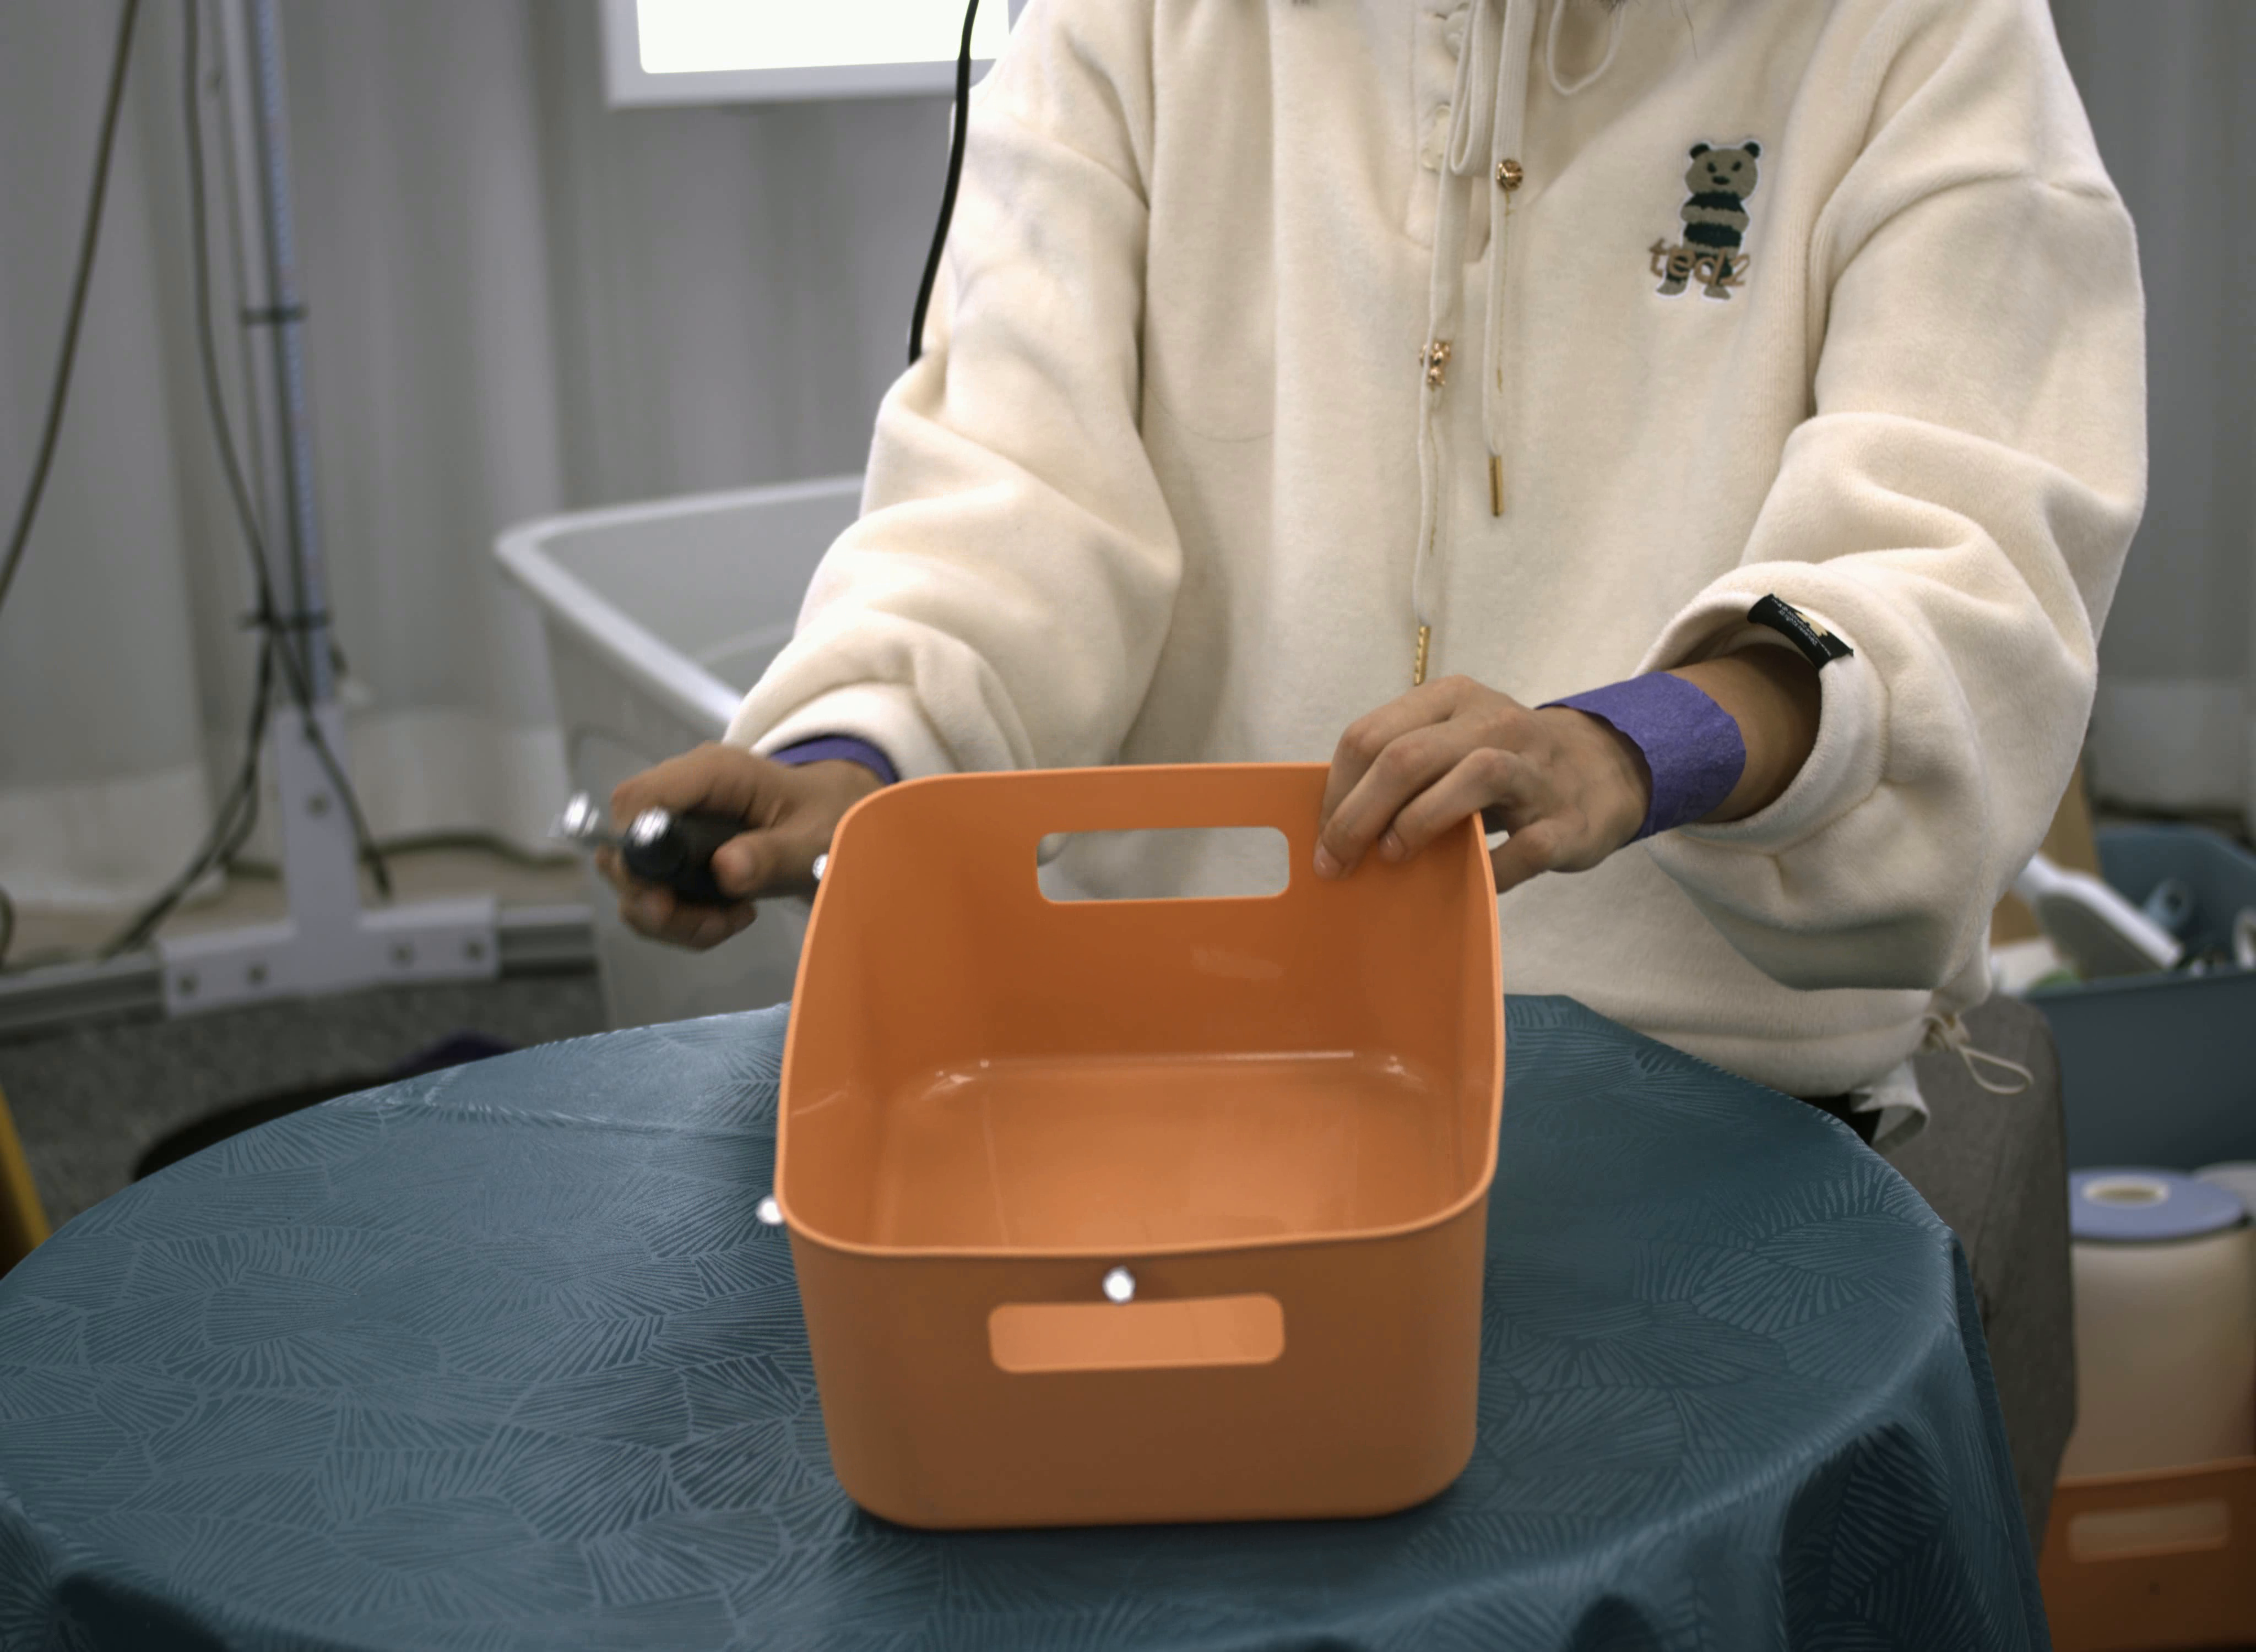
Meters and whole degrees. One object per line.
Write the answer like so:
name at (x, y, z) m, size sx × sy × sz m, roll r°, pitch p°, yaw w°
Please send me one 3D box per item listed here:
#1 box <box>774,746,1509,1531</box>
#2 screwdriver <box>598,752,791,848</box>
box at (0.009, 0.085, 1.529) m, size 0.199 × 0.101 × 0.276 m, roll -3°, pitch 28°, yaw 3°
screwdriver at (-0.136, -0.009, 1.723) m, size 0.031 × 0.031 × 0.197 m, roll -1°, pitch 0°, yaw 7°
